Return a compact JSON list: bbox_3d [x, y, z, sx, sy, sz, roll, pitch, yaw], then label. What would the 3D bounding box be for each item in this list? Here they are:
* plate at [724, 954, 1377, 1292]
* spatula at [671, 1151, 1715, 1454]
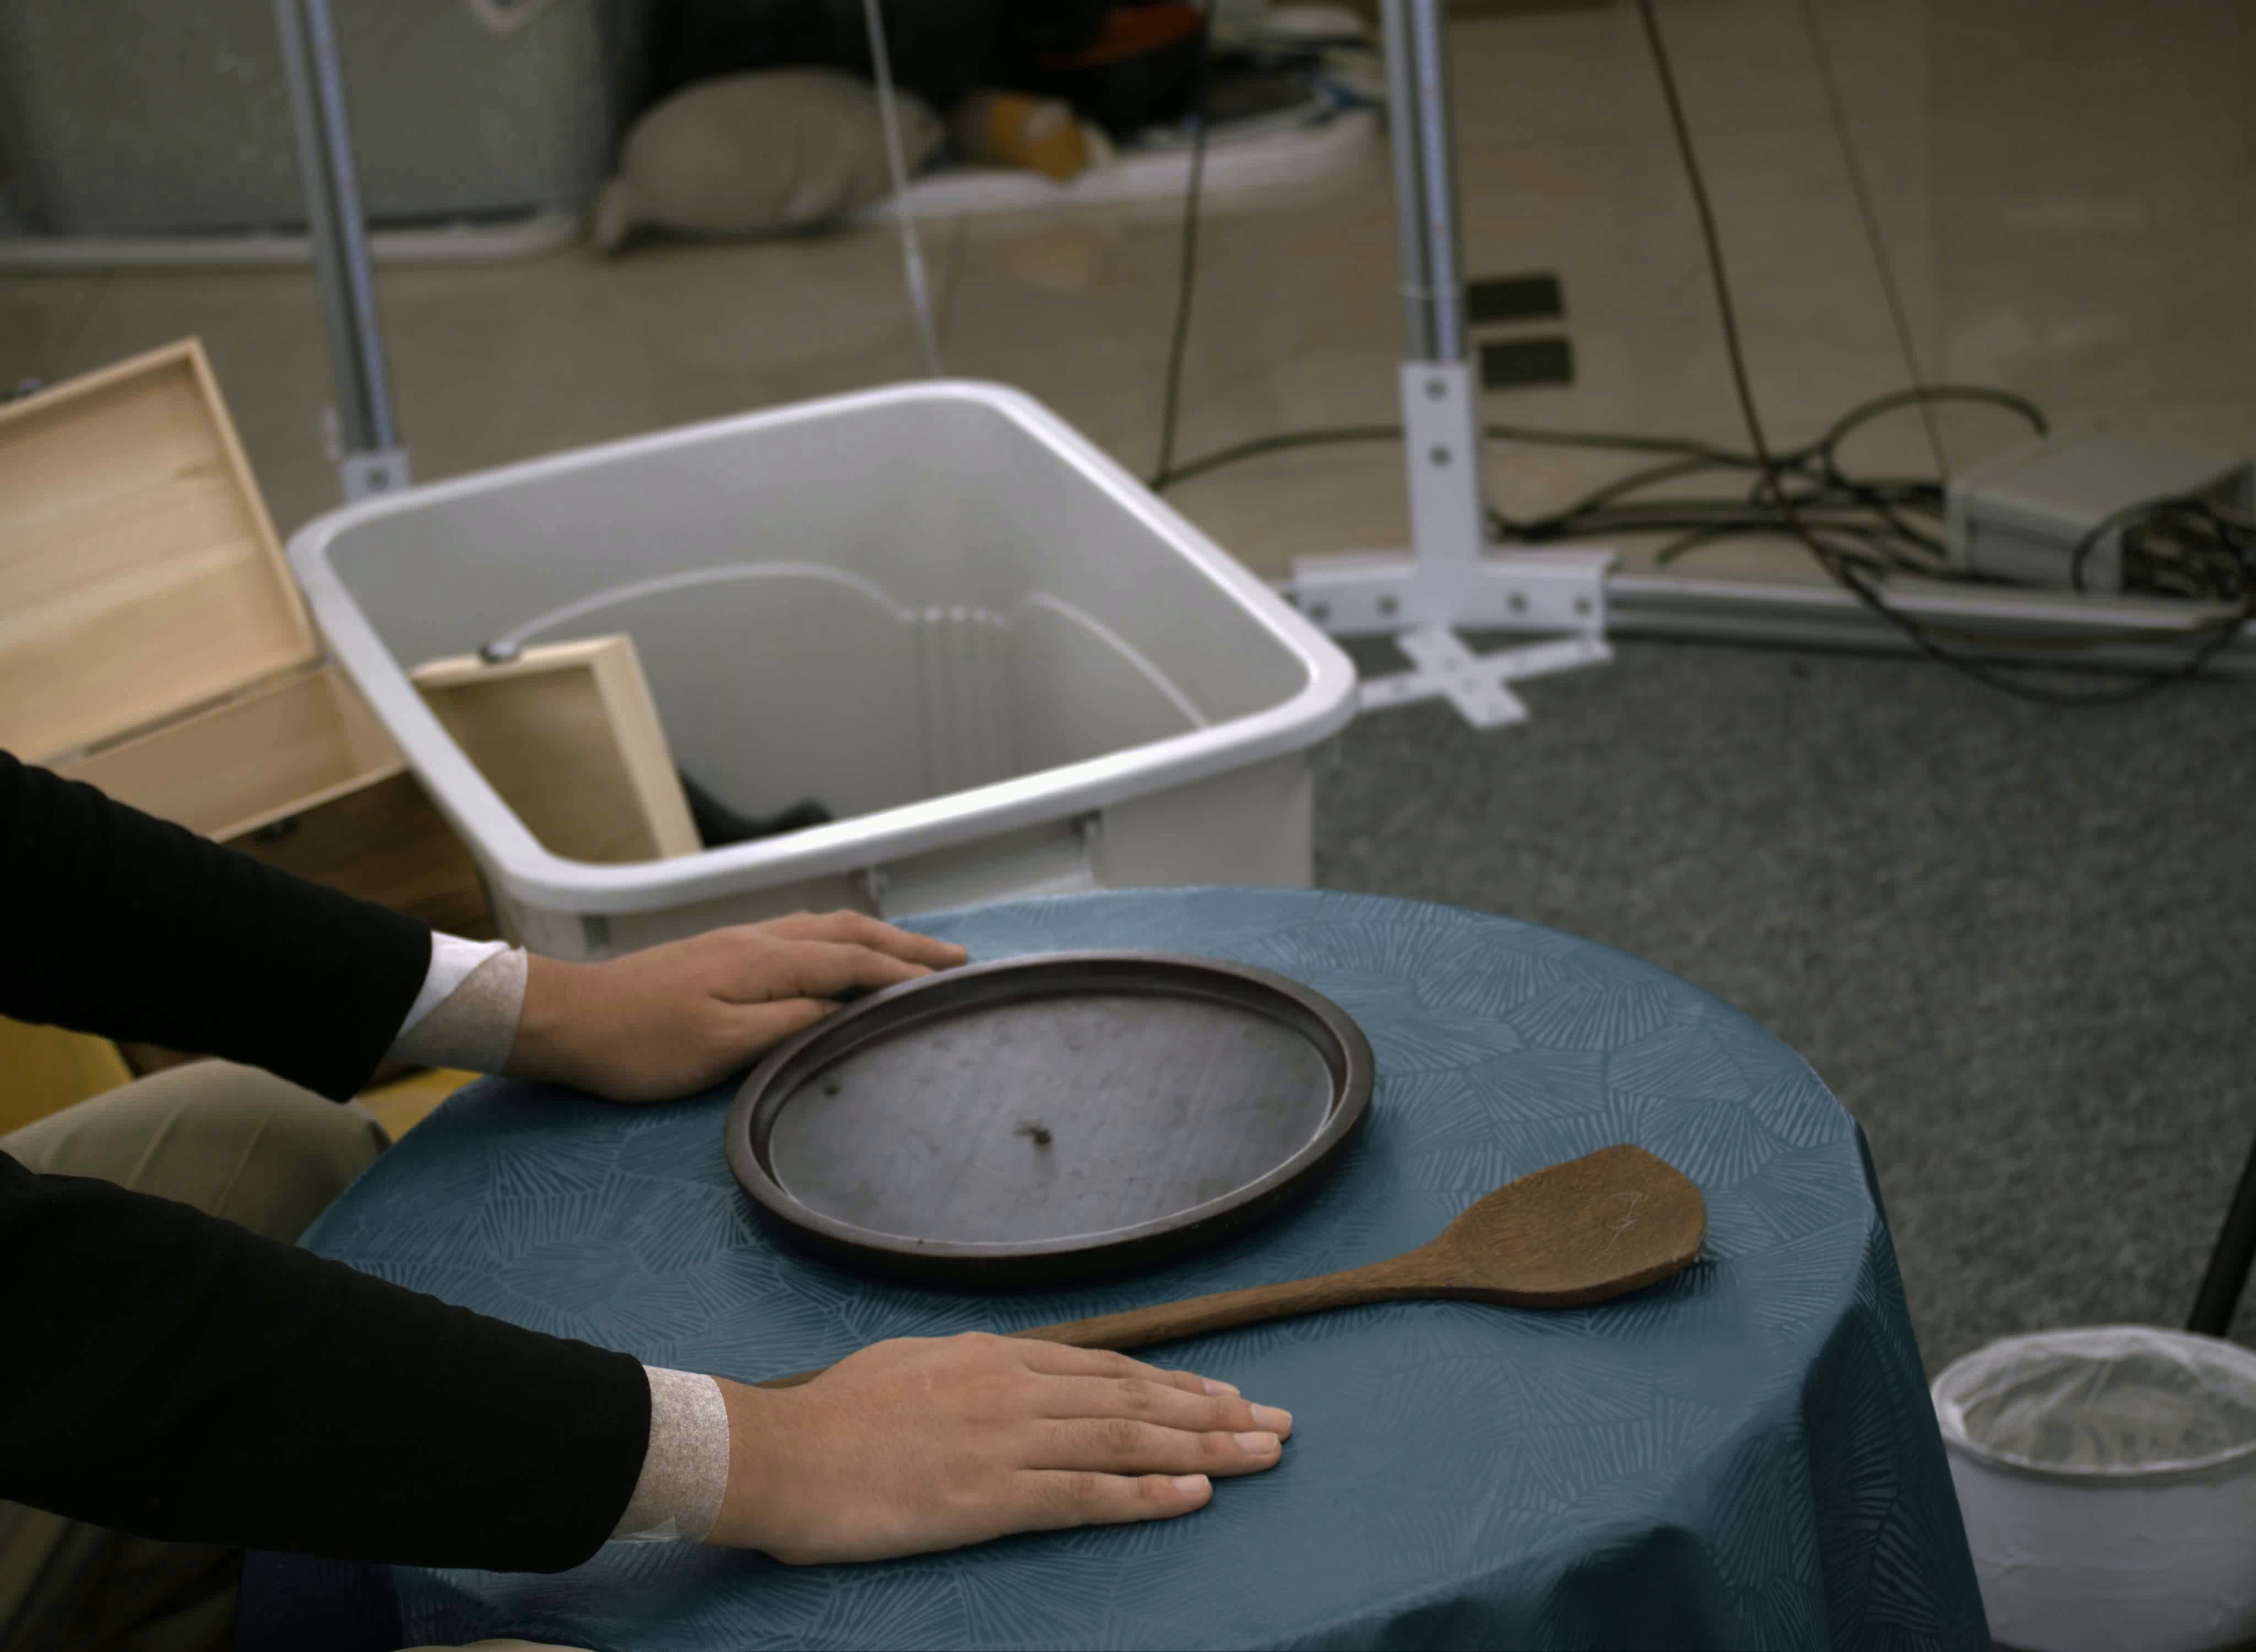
[{"bbox_3d":[-0.029,0.112,2.184,0.254,0.029,0.251,-5,26,3],"label":"plate"},{"bbox_3d":[0.024,0.177,2.044,0.385,0.016,0.095,-11,25,-10],"label":"spatula"}]
